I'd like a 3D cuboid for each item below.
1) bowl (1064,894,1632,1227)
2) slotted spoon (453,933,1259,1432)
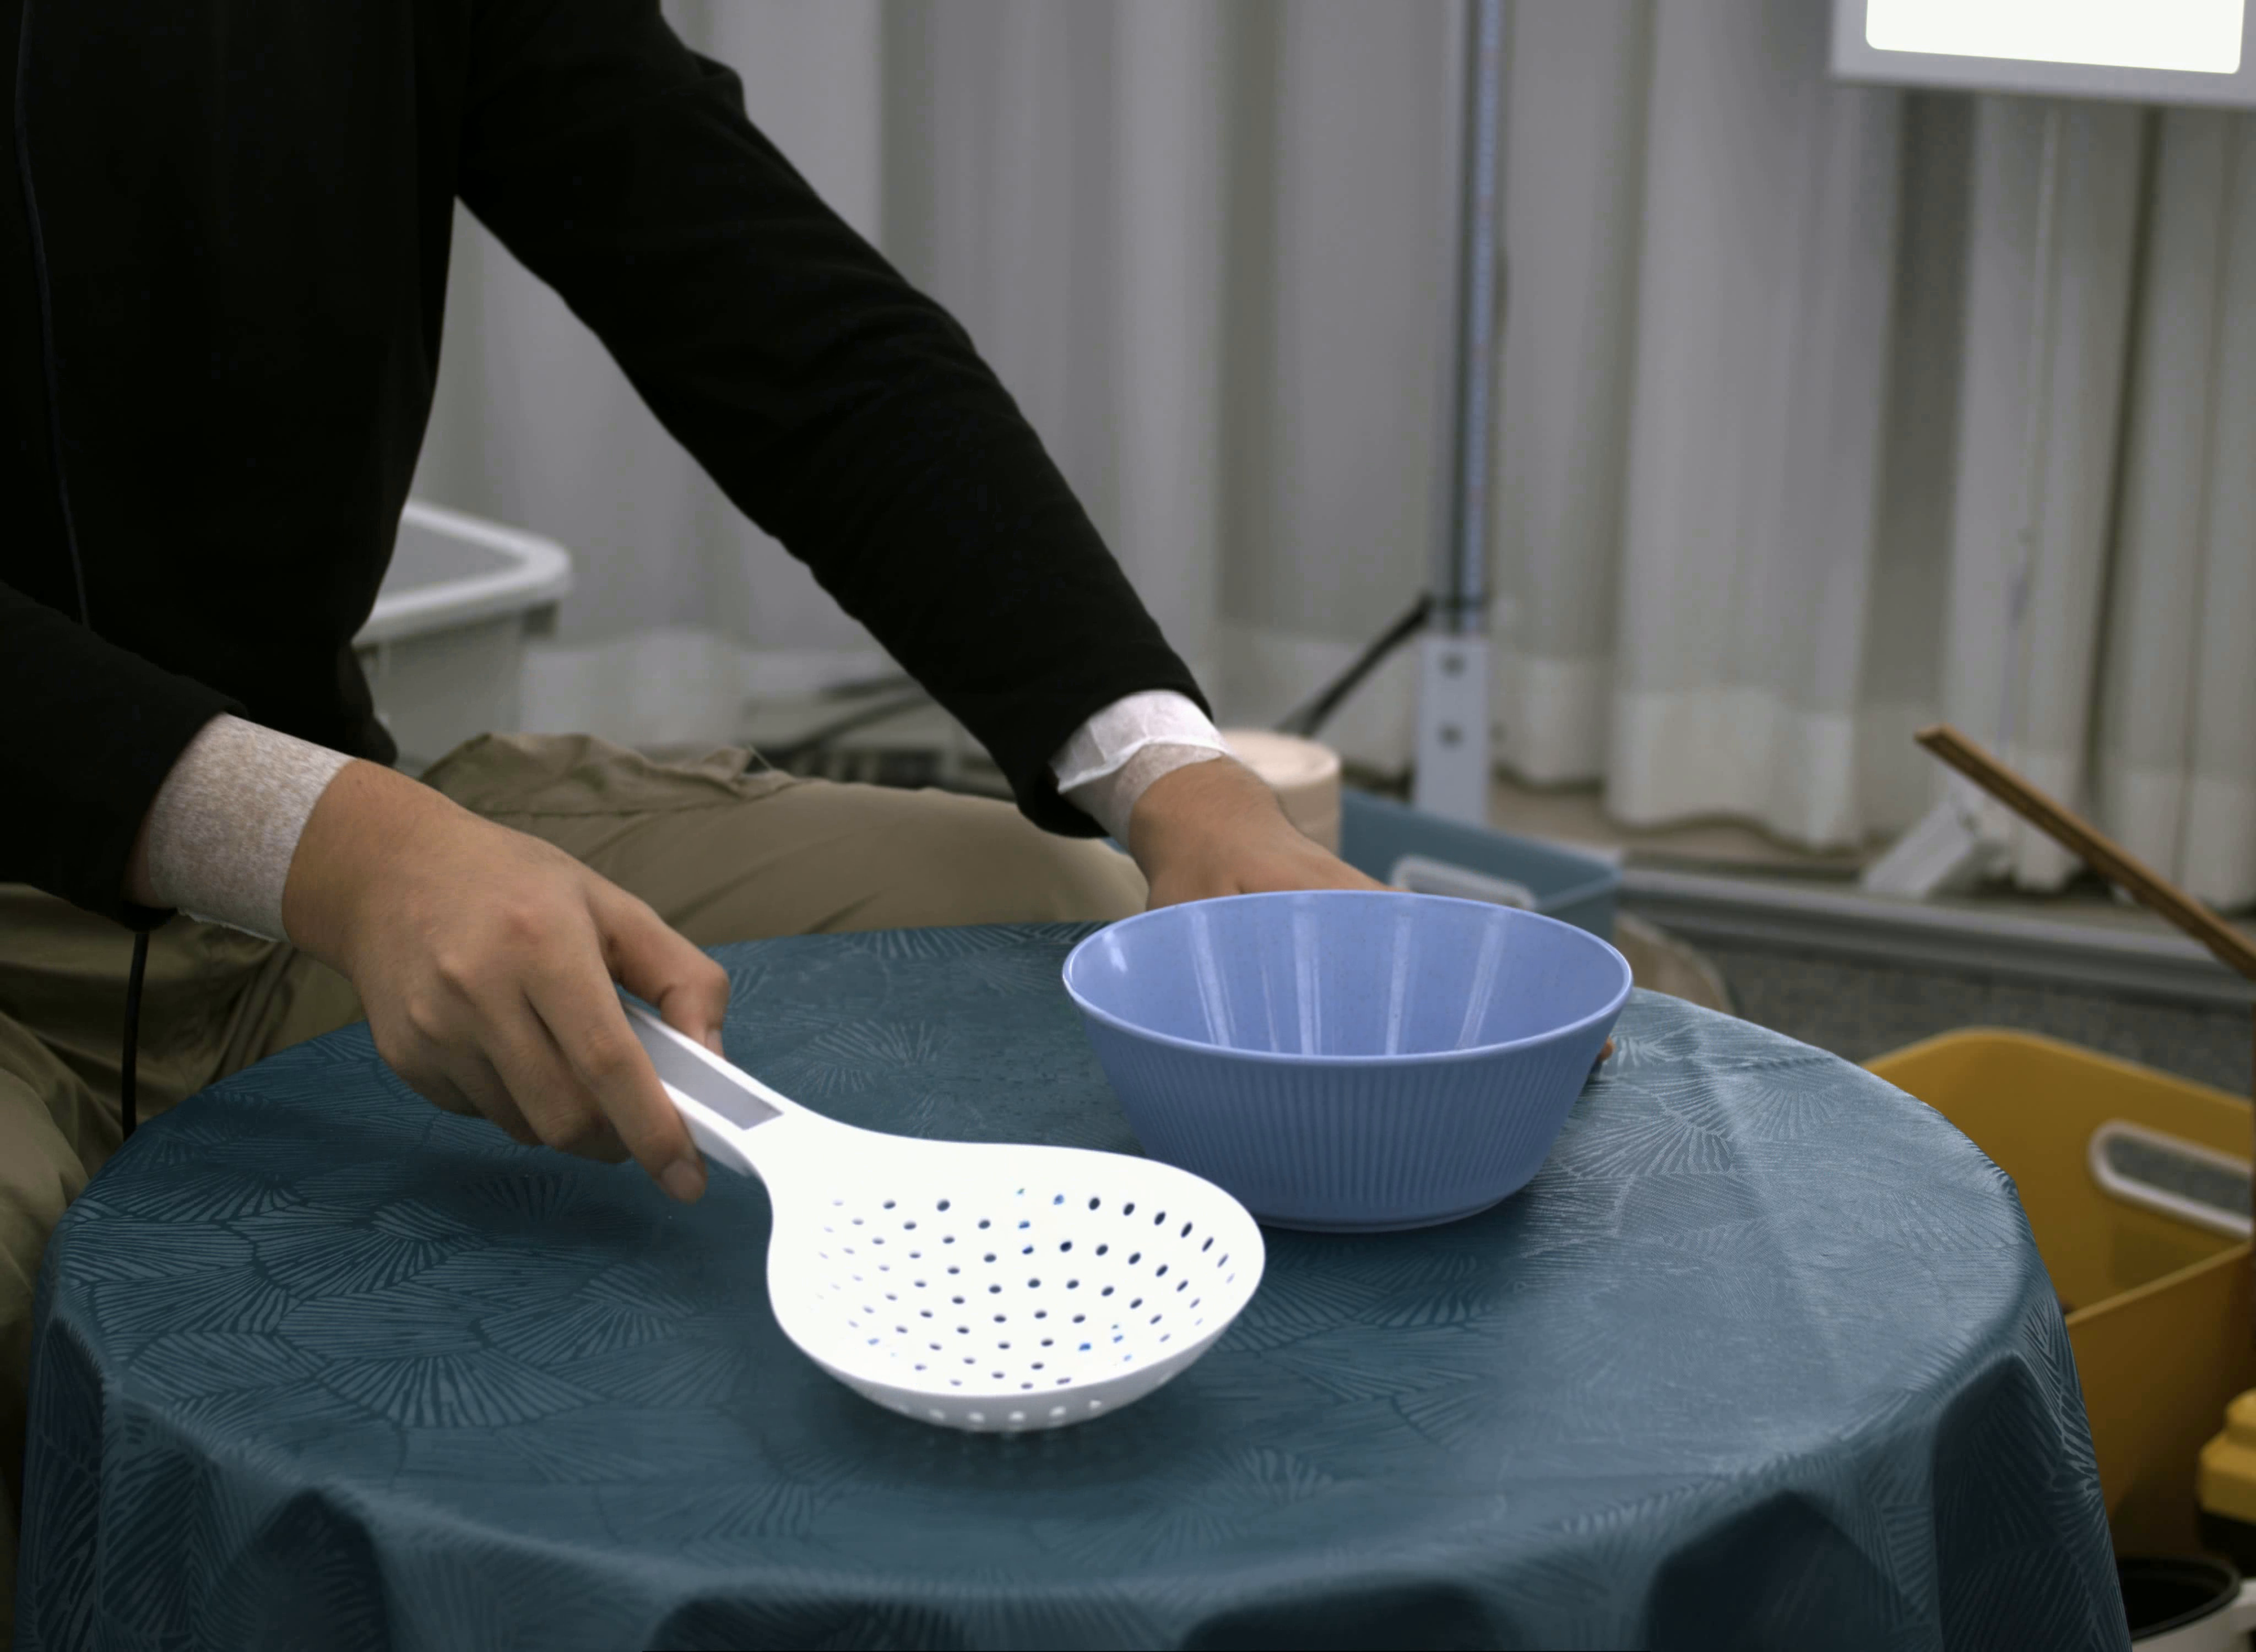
[{"bbox_3d":[0.067,0.074,1.628,0.175,0.071,0.175,0,15,0],"label":"bowl"},{"bbox_3d":[-0.097,0.094,1.519,0.136,0.046,0.345,-23,36,-32],"label":"slotted spoon"}]
